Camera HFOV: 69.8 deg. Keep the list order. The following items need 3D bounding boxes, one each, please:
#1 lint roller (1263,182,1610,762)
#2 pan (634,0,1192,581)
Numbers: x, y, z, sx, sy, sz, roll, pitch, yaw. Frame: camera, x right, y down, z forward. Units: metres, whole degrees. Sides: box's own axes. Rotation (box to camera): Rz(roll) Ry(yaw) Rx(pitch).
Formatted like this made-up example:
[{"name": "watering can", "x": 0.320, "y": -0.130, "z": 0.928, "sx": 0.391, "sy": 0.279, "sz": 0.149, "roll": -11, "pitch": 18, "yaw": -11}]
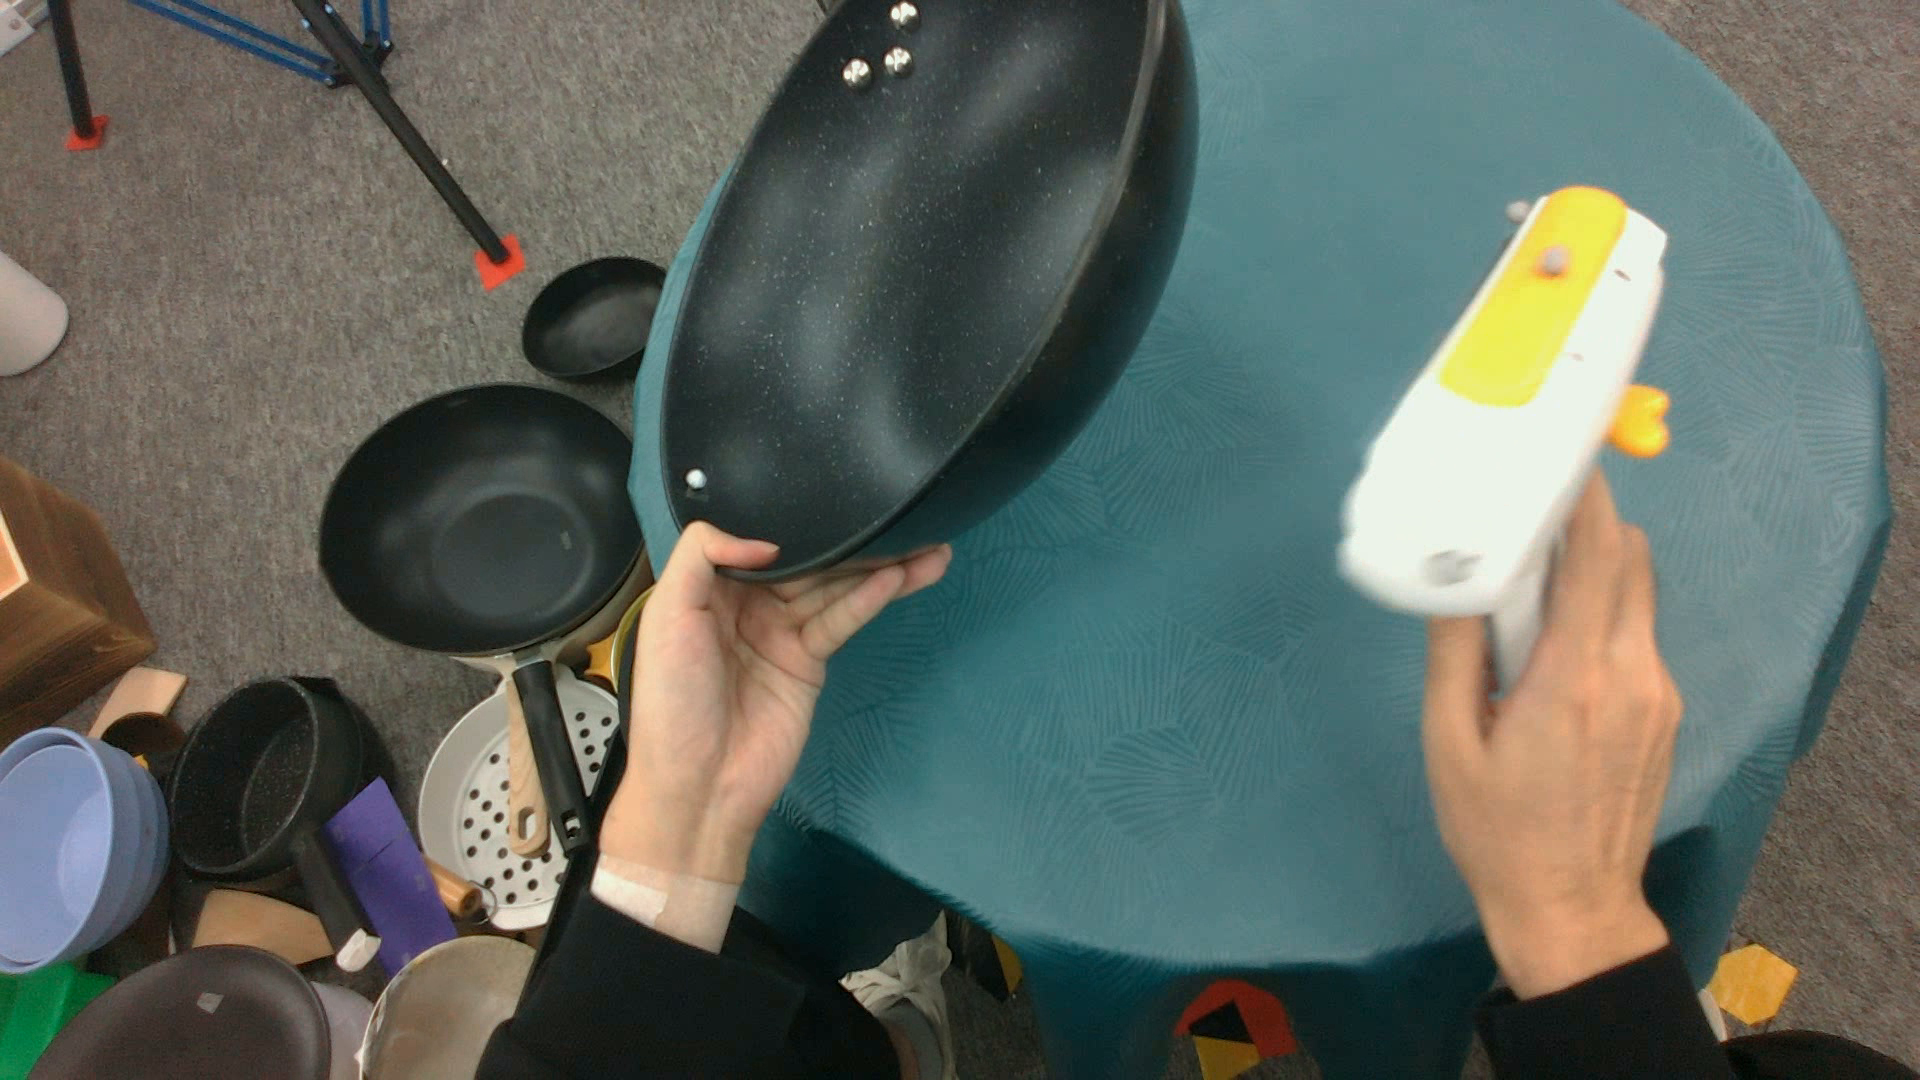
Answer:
[{"name": "lint roller", "x": 0.172, "y": -0.001, "z": 0.466, "sx": 0.074, "sy": 0.191, "sz": 0.194, "roll": 12, "pitch": 46, "yaw": 31}, {"name": "pan", "x": -0.035, "y": -0.189, "z": 0.608, "sx": 0.309, "sy": 0.112, "sz": 0.479, "roll": -38, "pitch": 45, "yaw": 32}]
